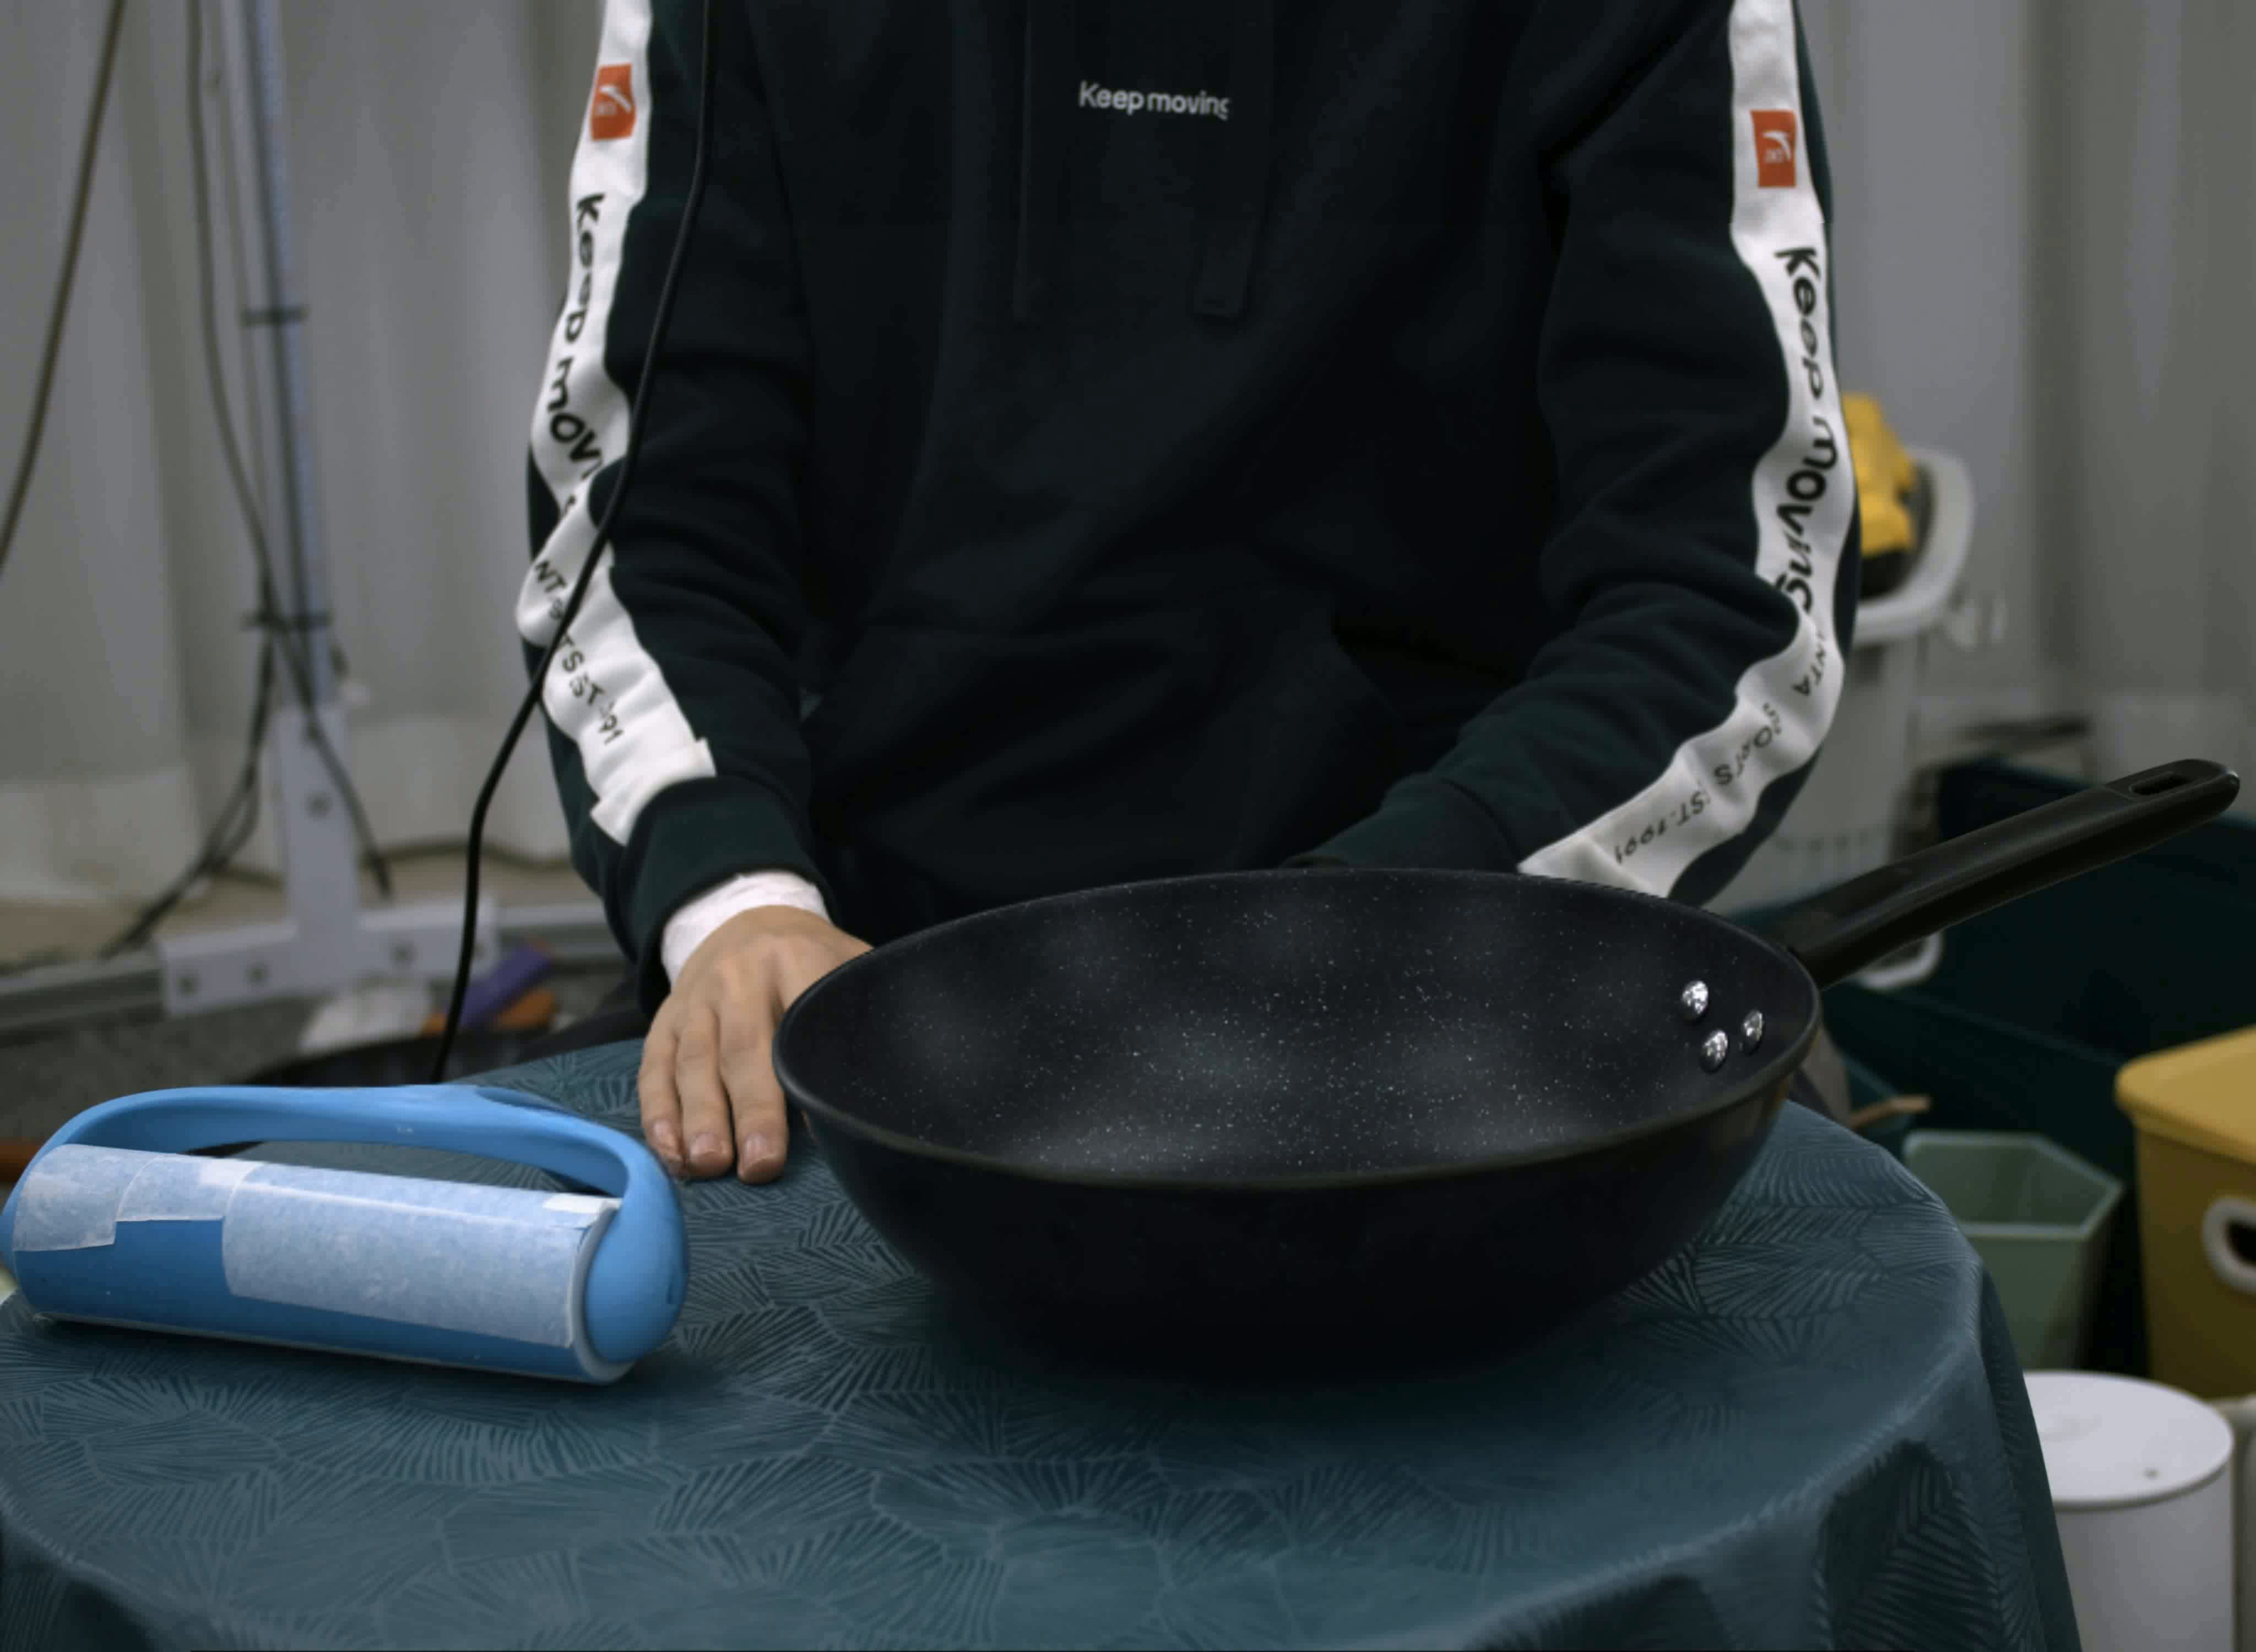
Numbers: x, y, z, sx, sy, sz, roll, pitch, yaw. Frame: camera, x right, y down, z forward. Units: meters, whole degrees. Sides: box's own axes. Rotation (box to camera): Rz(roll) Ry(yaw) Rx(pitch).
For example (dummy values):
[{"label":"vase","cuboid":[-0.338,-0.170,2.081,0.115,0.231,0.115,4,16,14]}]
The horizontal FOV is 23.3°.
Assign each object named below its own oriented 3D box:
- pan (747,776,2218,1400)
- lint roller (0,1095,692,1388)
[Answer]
[{"label":"pan","cuboid":[0.120,0.074,1.638,0.475,0.111,0.313,-9,18,-21]},{"label":"lint roller","cuboid":[-0.212,0.112,1.657,0.229,0.067,0.181,0,17,22]}]
